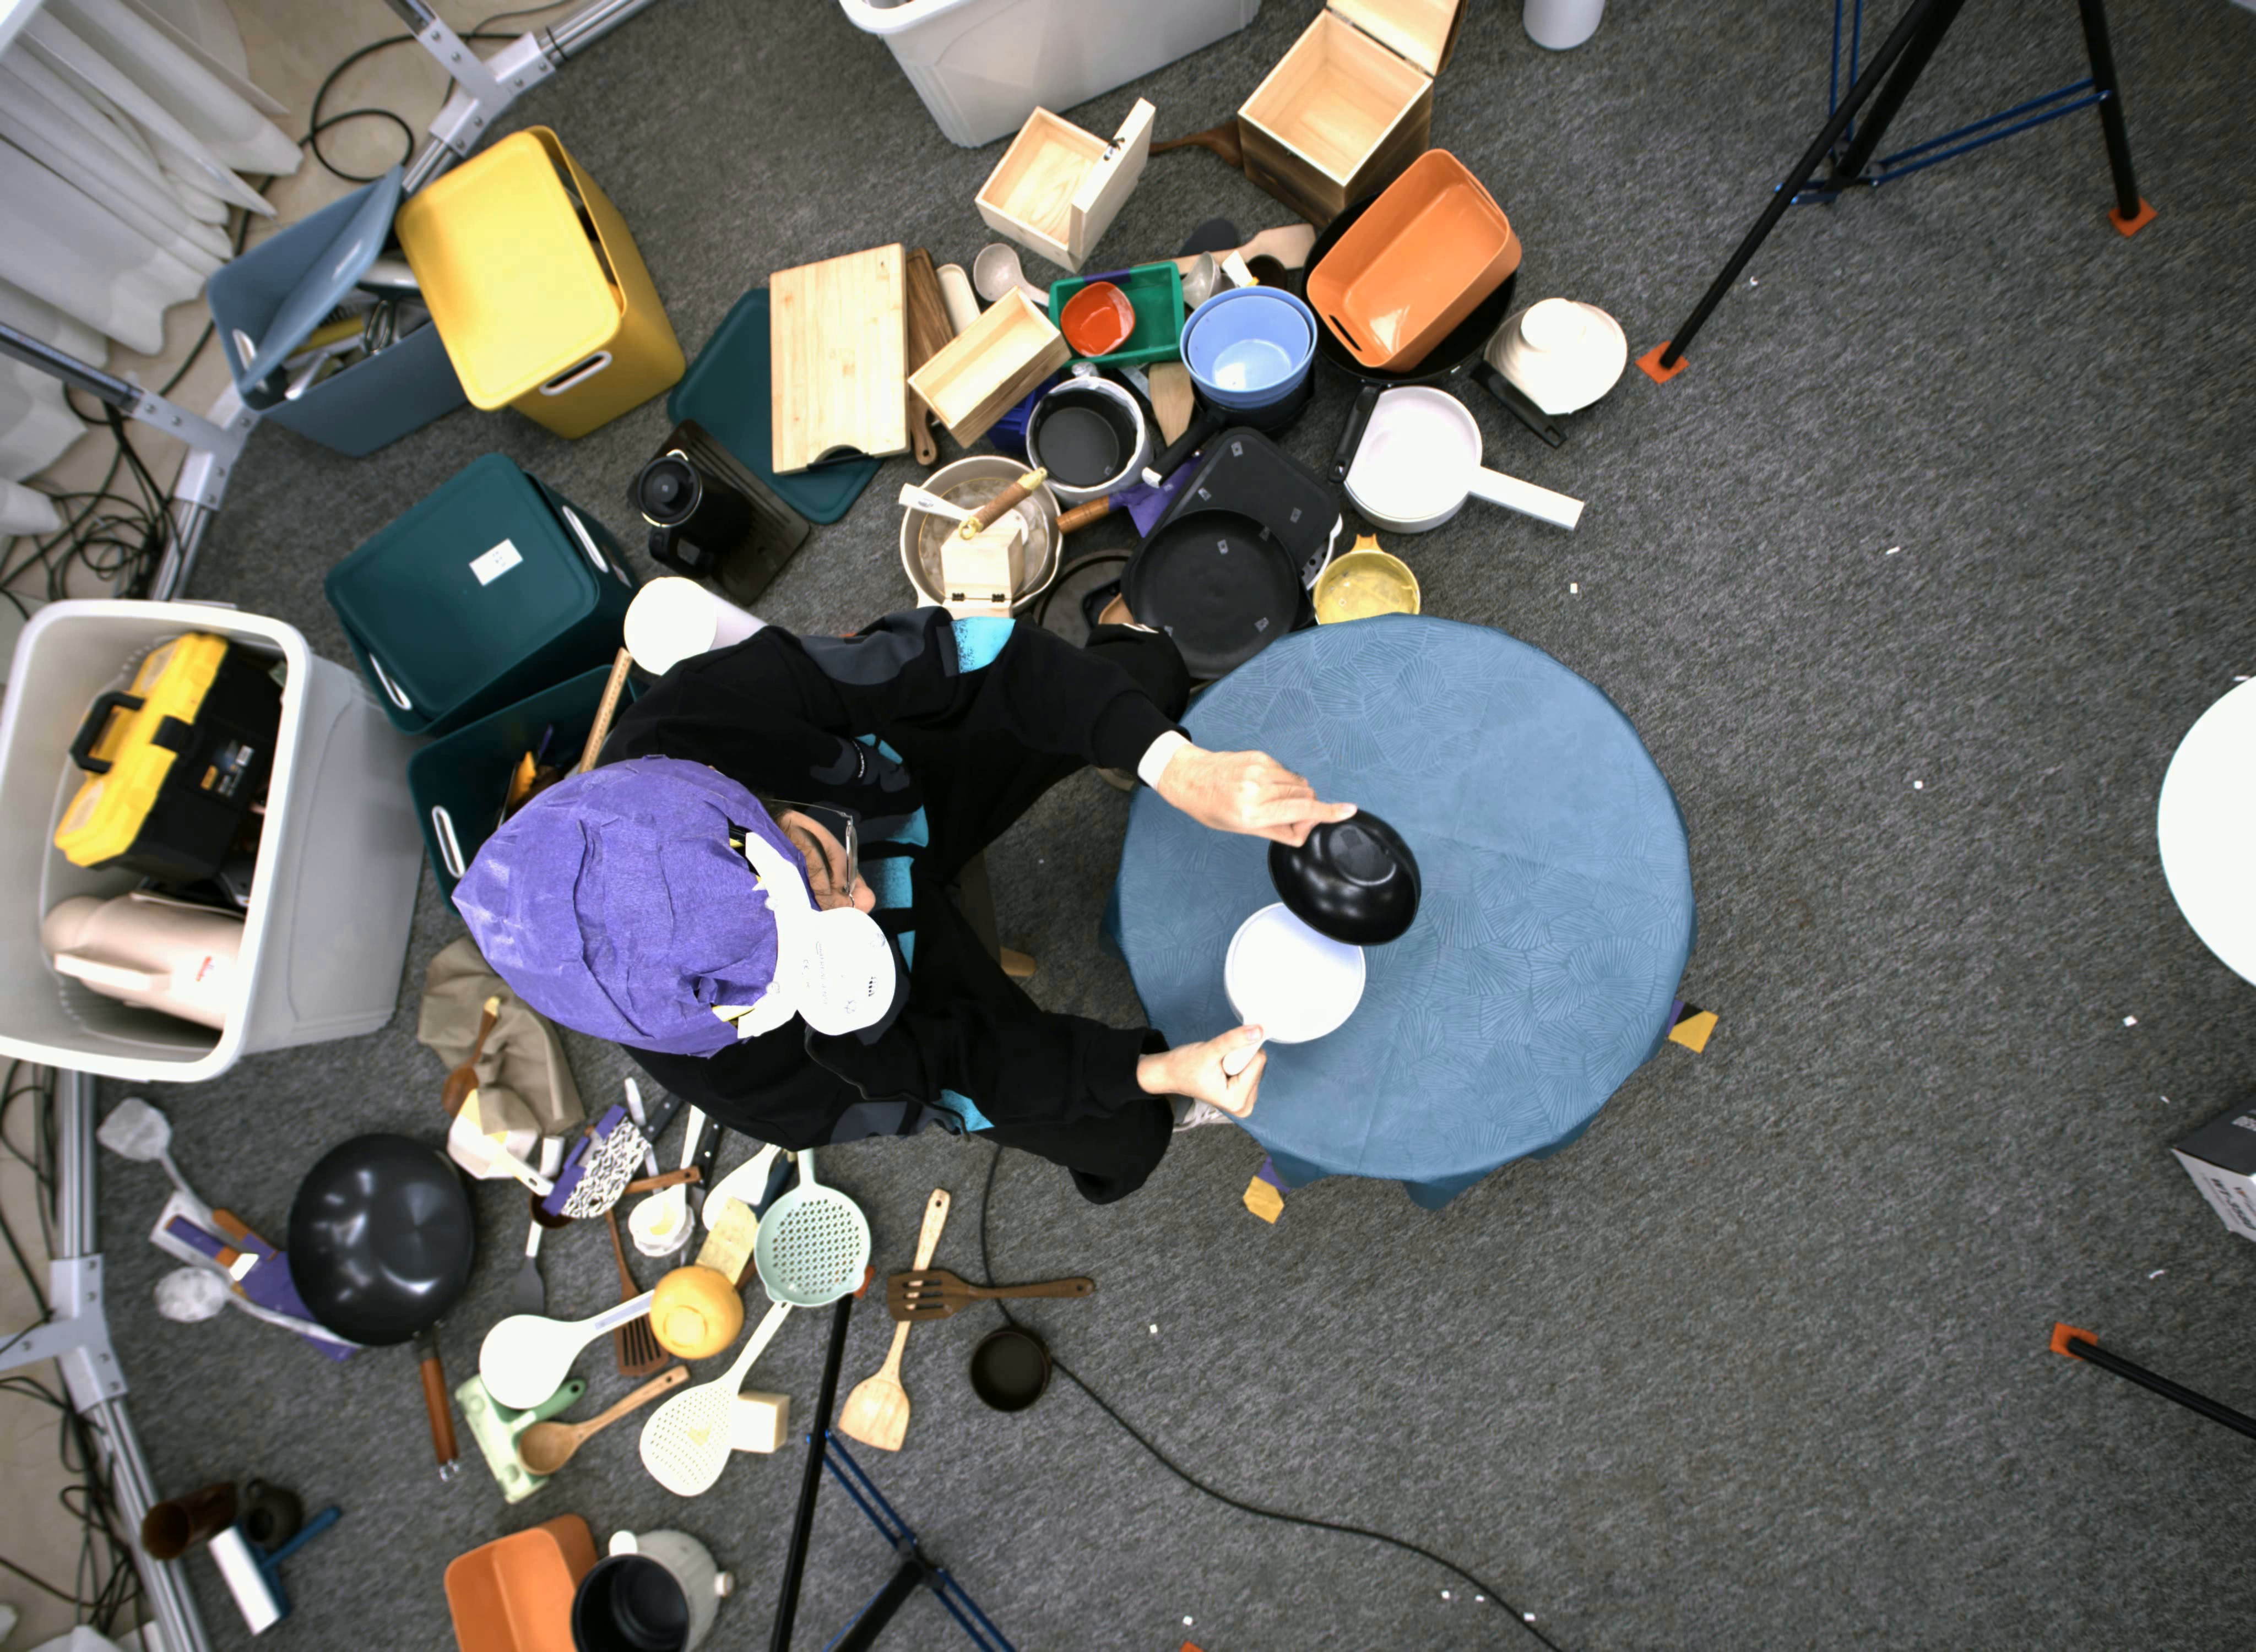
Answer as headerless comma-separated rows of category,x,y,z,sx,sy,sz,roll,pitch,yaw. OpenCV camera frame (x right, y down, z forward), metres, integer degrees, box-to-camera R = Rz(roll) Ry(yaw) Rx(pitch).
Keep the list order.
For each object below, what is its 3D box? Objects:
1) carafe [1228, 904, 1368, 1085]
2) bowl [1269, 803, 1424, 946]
carafe,0.151,0.164,1.338,0.132,0.183,0.191,30,89,10
bowl,0.192,0.032,1.178,0.139,0.144,0.048,33,50,11
